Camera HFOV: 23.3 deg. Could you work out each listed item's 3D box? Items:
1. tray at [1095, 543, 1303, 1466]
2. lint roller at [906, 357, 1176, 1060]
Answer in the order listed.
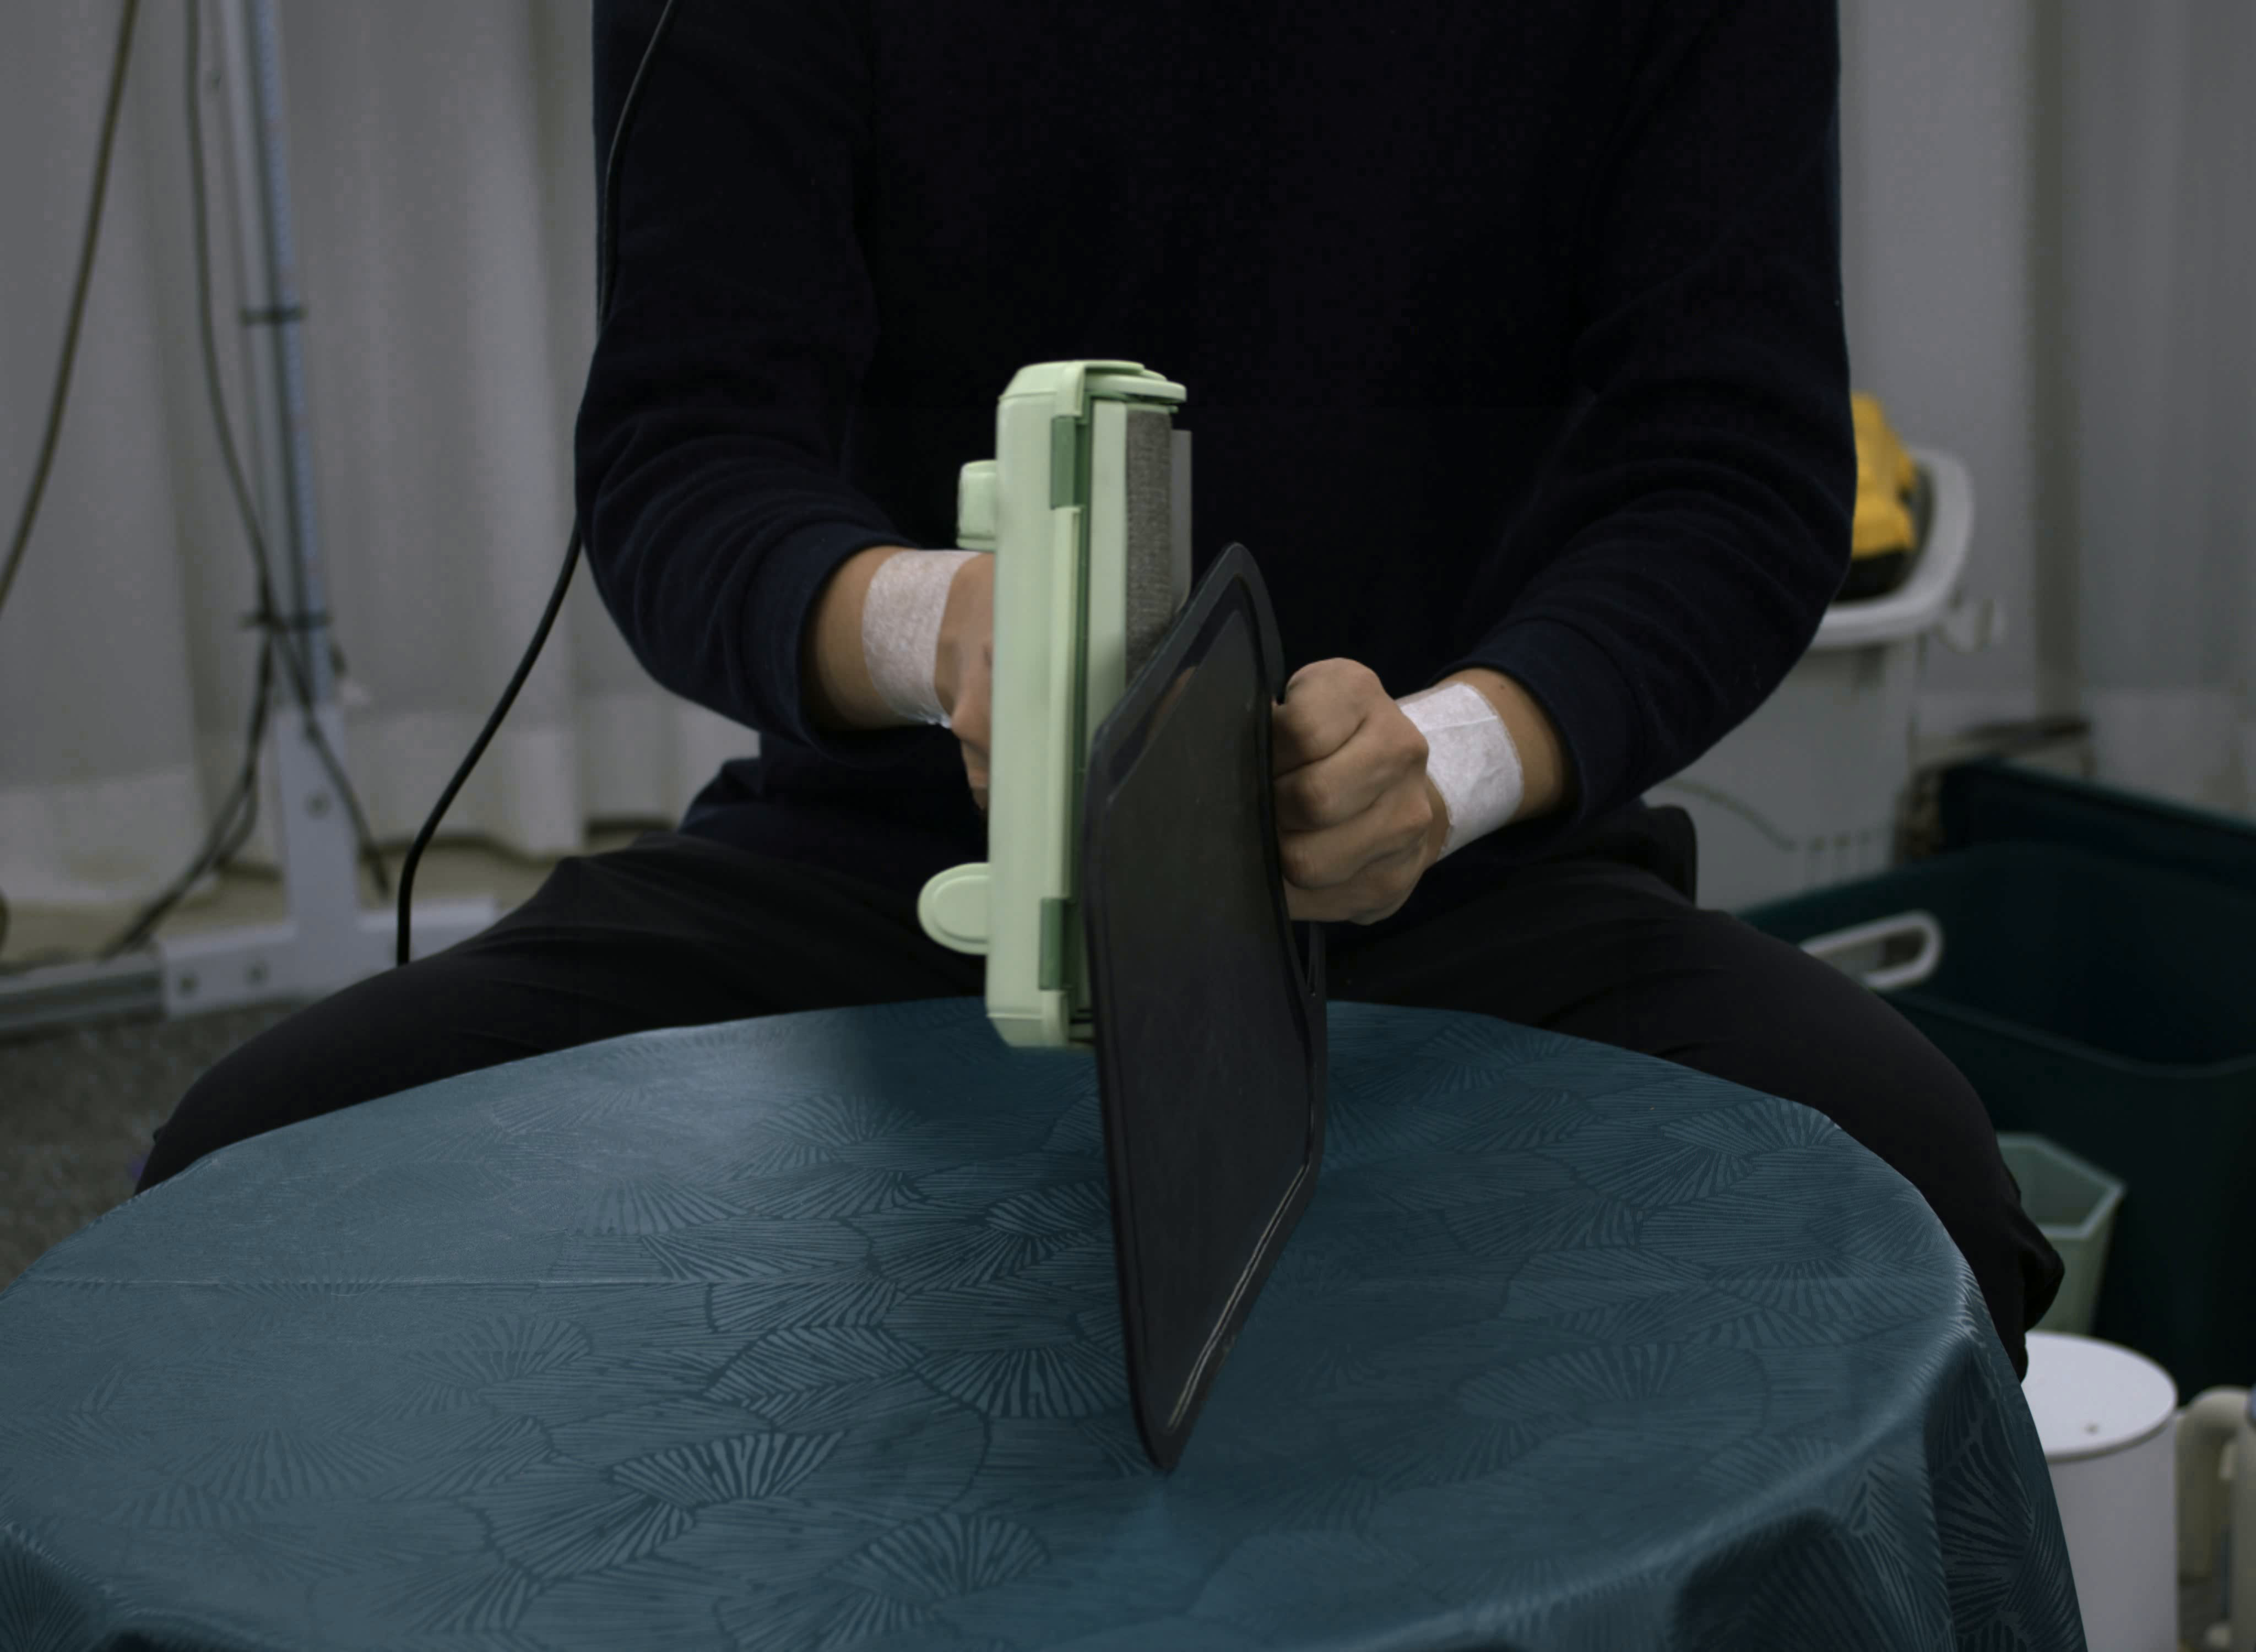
[{"bbox_3d":[0.025,0.040,1.581,0.010,0.210,0.327,-3,14,10],"label":"tray"},{"bbox_3d":[-0.028,-0.032,1.611,0.082,0.199,0.183,2,-3,-7],"label":"lint roller"}]
